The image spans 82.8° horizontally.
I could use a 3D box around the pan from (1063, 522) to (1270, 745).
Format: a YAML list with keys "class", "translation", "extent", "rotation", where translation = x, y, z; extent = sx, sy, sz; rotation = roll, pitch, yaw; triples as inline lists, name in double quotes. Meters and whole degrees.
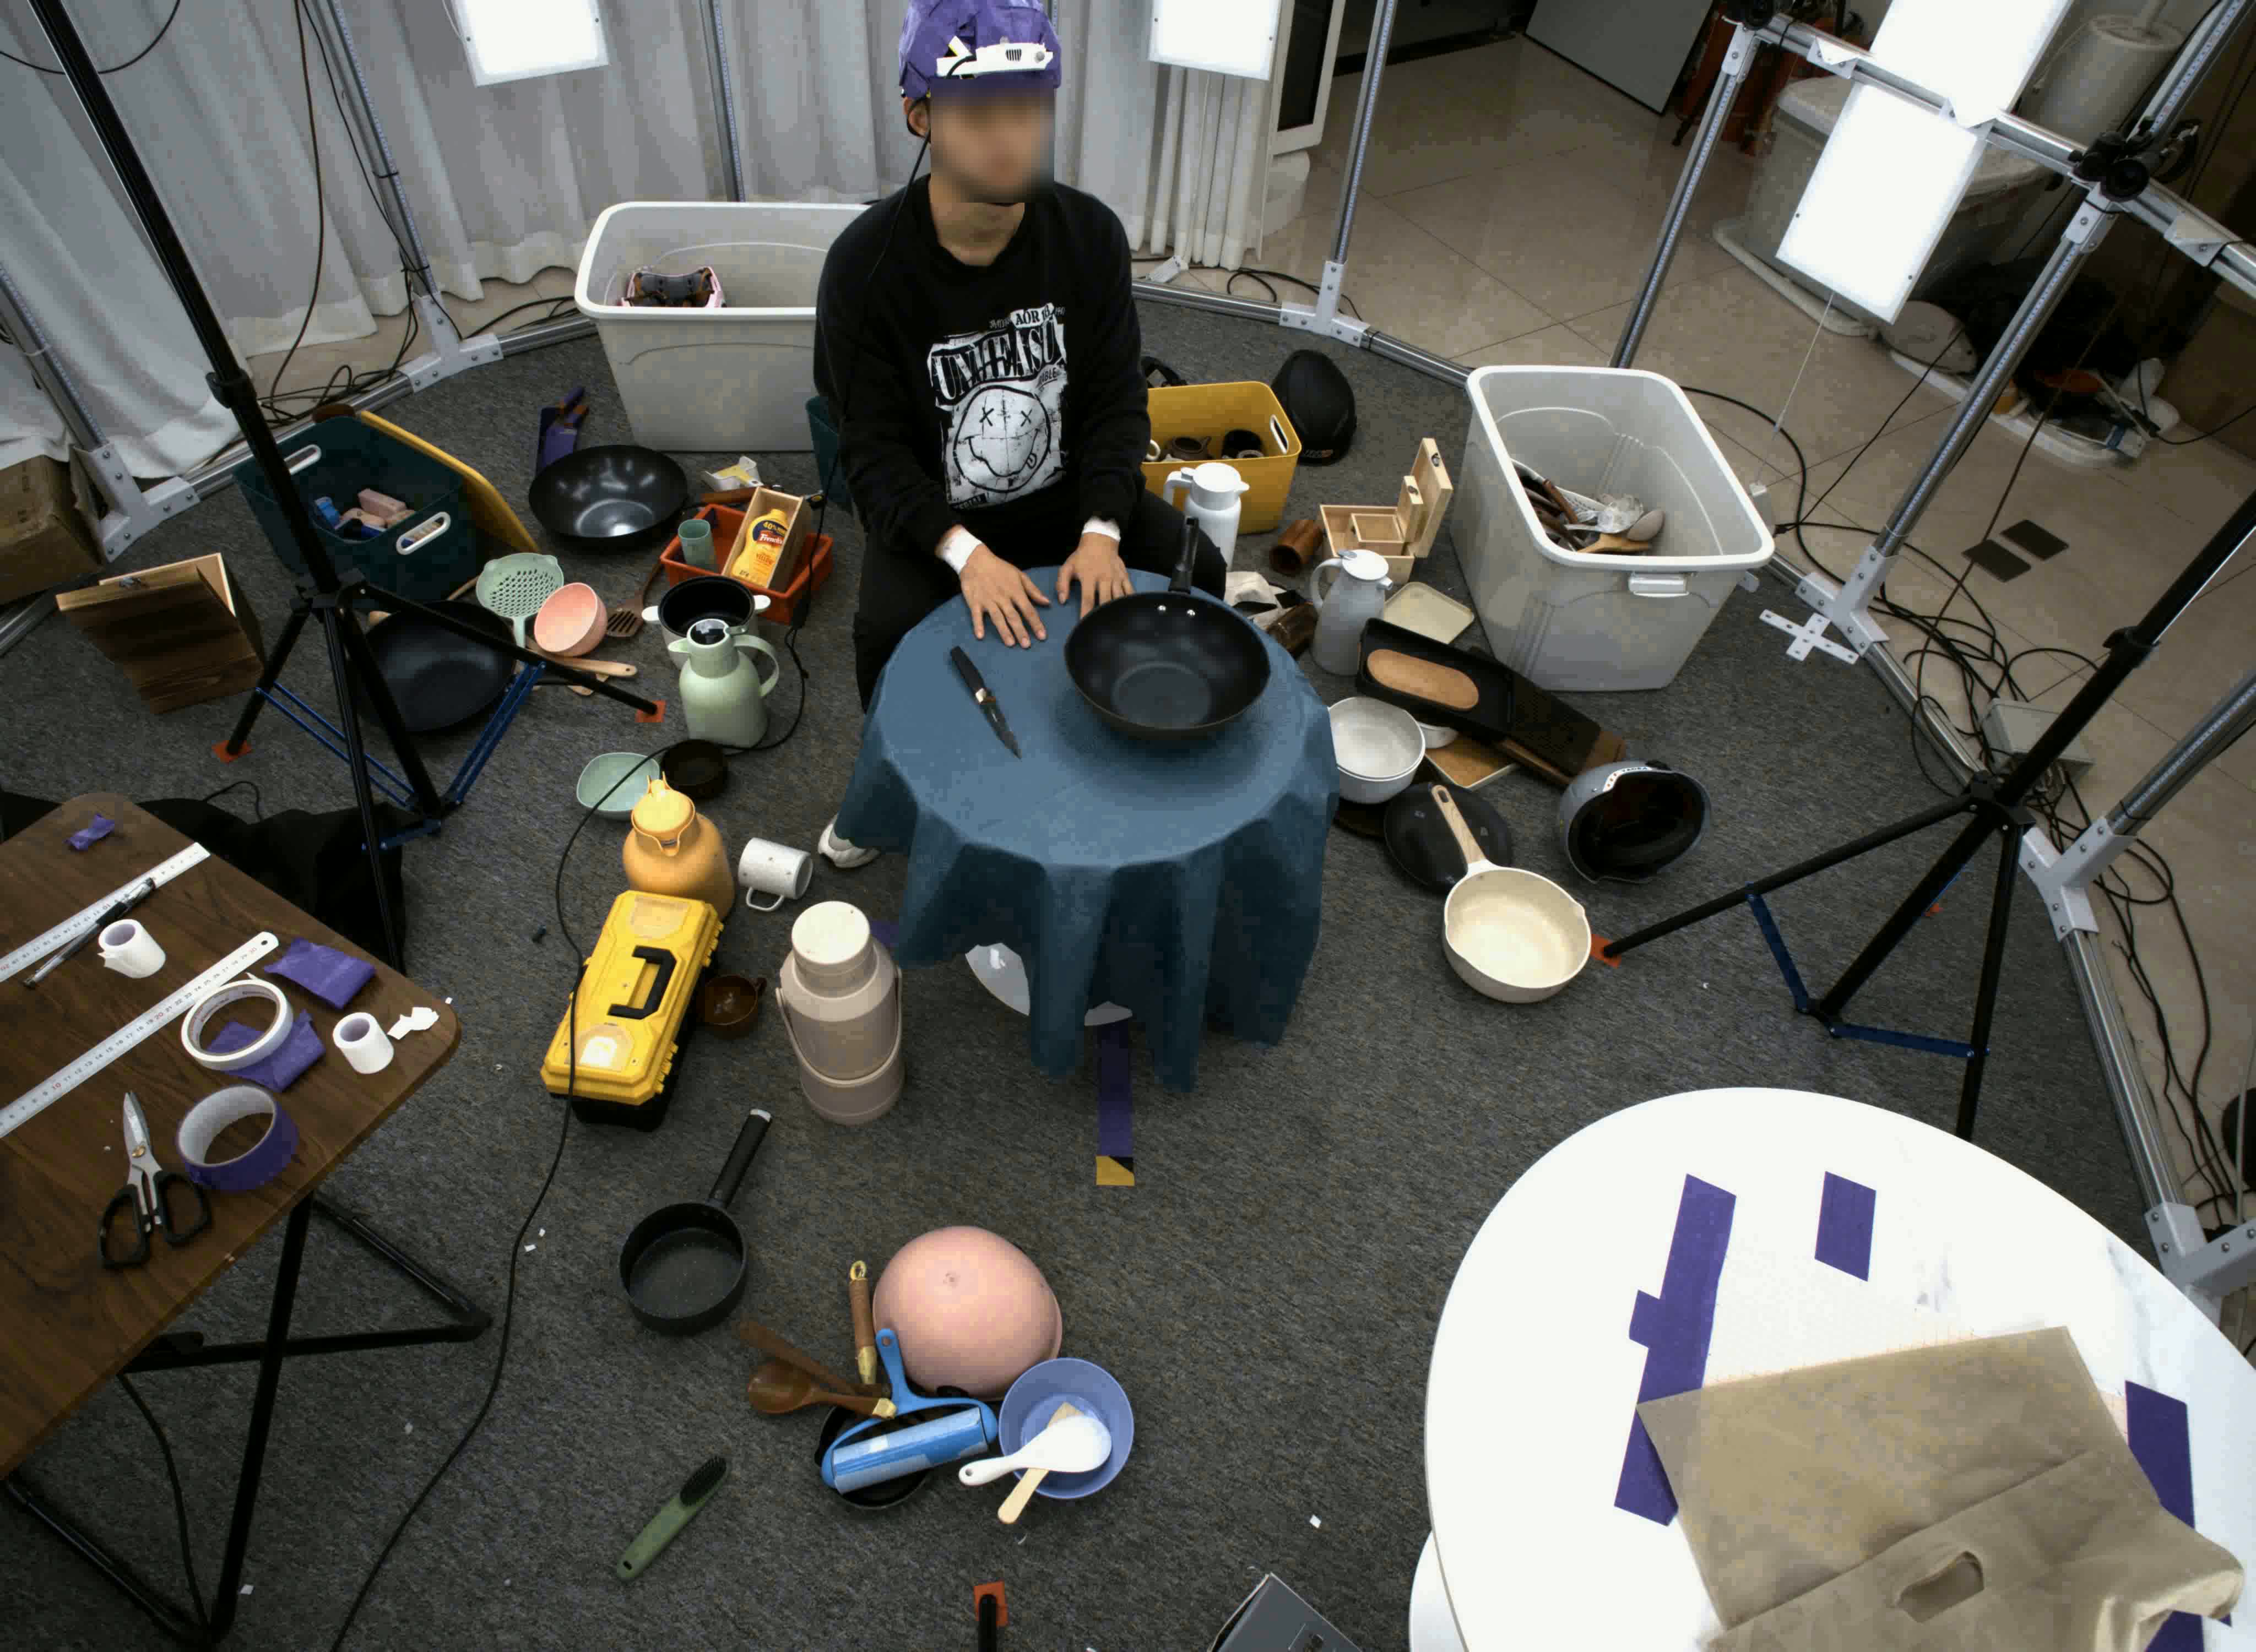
- class: "pan"
  translation: [0.064, -0.275, 1.860]
  extent: [0.288, 0.085, 0.474]
  rotation: [8, 48, 3]

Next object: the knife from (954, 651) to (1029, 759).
- class: "knife"
  translation: [-0.193, -0.172, 1.801]
  extent: [0.026, 0.017, 0.230]
  rotation: [-9, 49, -32]
